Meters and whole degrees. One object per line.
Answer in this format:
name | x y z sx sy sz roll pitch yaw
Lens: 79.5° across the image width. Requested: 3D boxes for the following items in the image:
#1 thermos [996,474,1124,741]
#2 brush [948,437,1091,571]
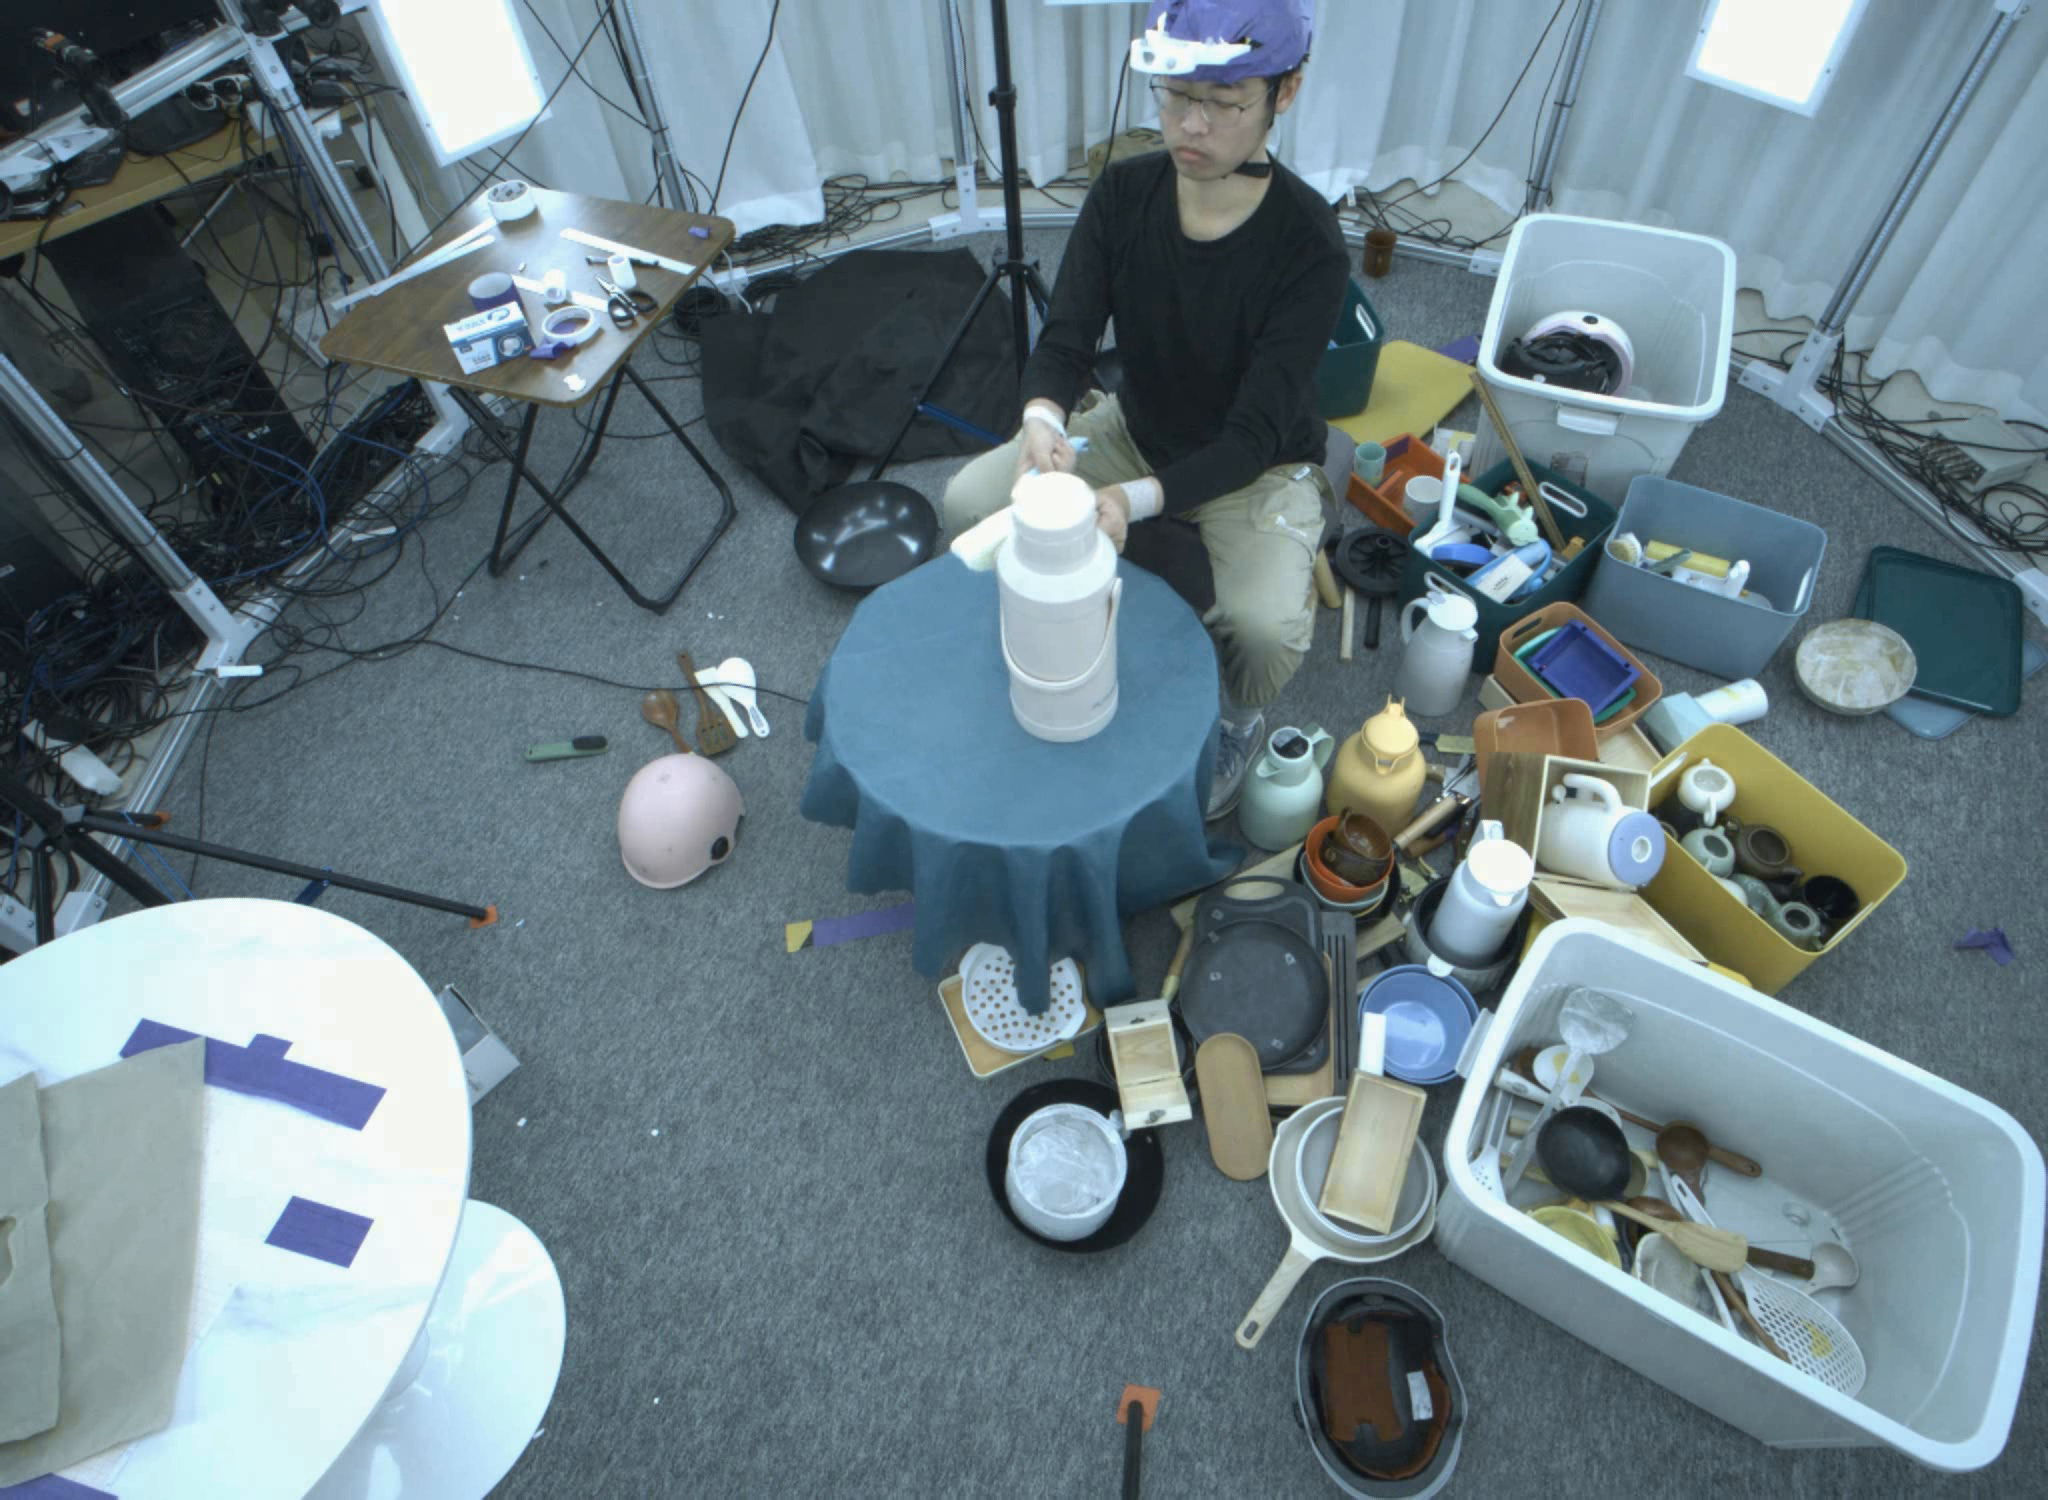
thermos | 0.058 -0.201 1.683 0.173 0.411 0.207 17 58 17
brush | 0.022 -0.346 1.710 0.081 0.085 0.327 -7 31 50
